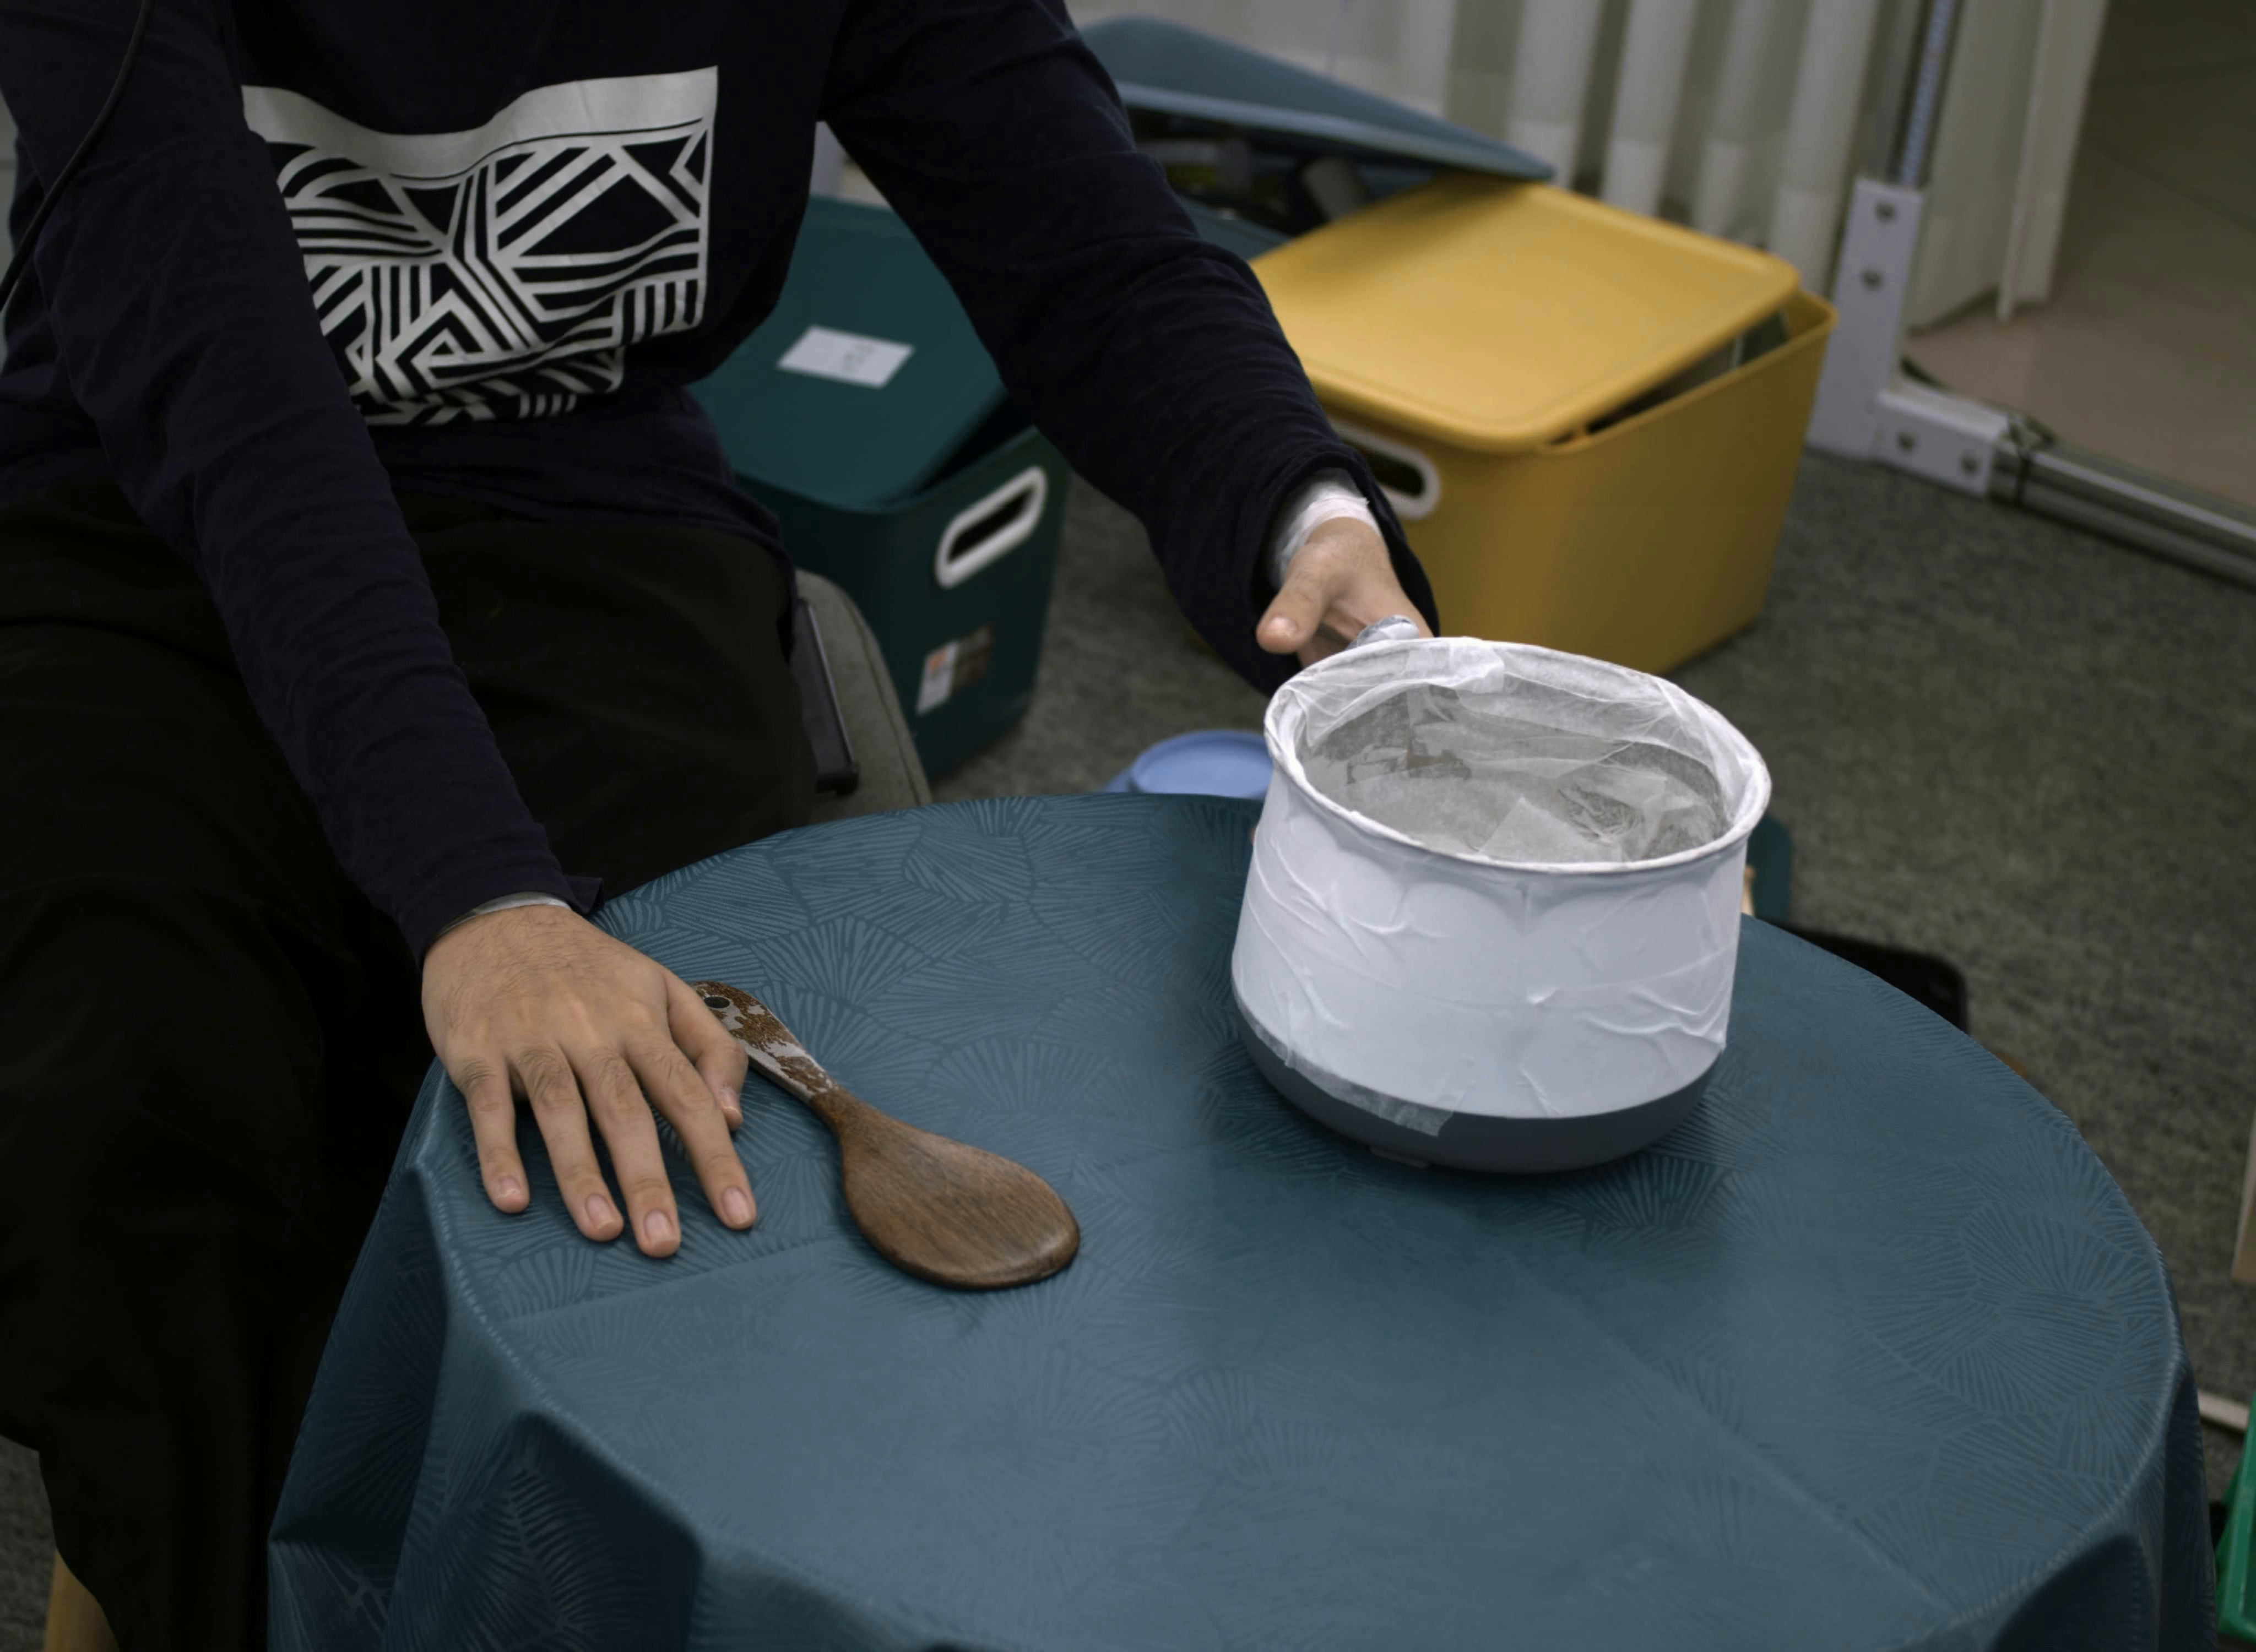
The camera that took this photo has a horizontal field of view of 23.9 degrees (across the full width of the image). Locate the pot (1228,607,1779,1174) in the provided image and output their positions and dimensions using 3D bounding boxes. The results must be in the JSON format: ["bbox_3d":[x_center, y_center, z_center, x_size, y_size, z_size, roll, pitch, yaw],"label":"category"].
[{"bbox_3d":[0.117,0.016,1.890,0.177,0.136,0.236,-3,29,-25],"label":"pot"}]

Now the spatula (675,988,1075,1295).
[{"bbox_3d":[-0.093,0.103,1.820,0.071,0.009,0.217,-11,31,-33],"label":"spatula"}]
